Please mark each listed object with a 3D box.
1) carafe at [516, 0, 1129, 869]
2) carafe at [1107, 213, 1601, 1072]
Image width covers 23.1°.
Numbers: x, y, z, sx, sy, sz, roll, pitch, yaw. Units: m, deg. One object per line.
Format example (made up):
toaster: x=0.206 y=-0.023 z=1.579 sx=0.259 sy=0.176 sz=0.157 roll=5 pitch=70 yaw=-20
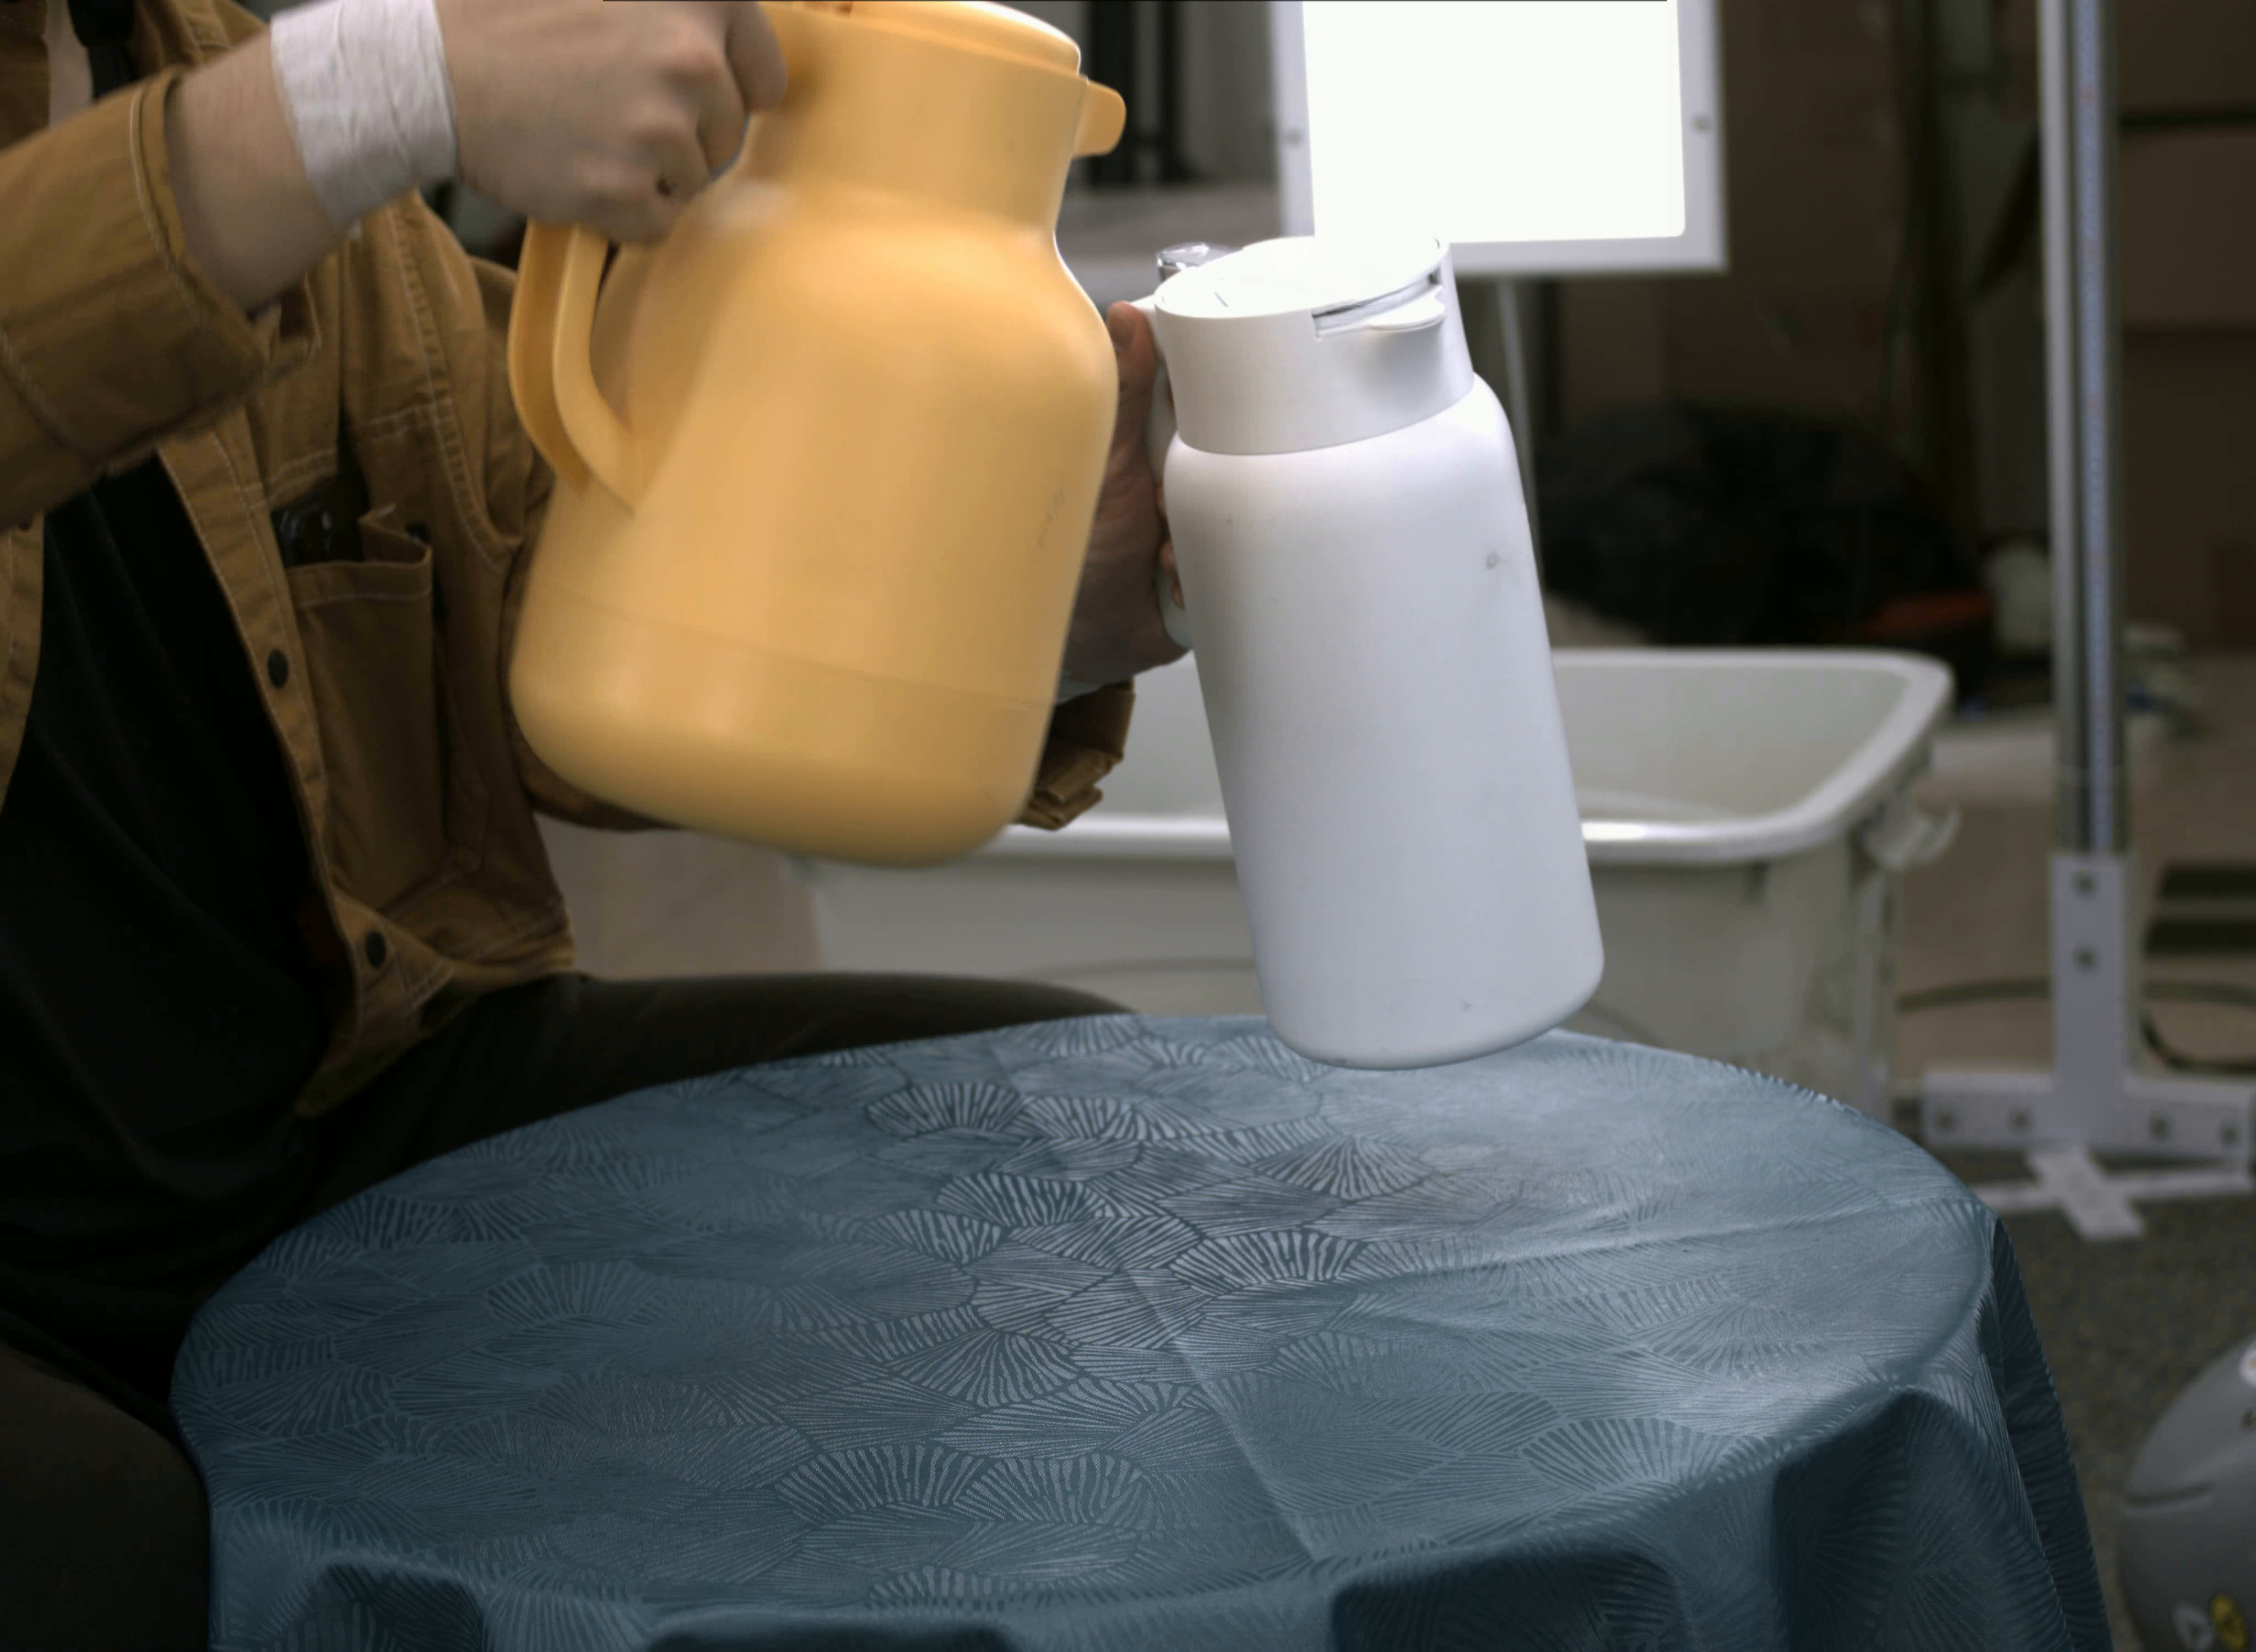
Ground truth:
carafe: x=-0.098 y=-0.127 z=1.649 sx=0.197 sy=0.261 sz=0.167 roll=10 pitch=3 yaw=-38
carafe: x=0.069 y=-0.062 z=1.837 sx=0.121 sy=0.269 sz=0.176 roll=-25 pitch=23 yaw=-28
